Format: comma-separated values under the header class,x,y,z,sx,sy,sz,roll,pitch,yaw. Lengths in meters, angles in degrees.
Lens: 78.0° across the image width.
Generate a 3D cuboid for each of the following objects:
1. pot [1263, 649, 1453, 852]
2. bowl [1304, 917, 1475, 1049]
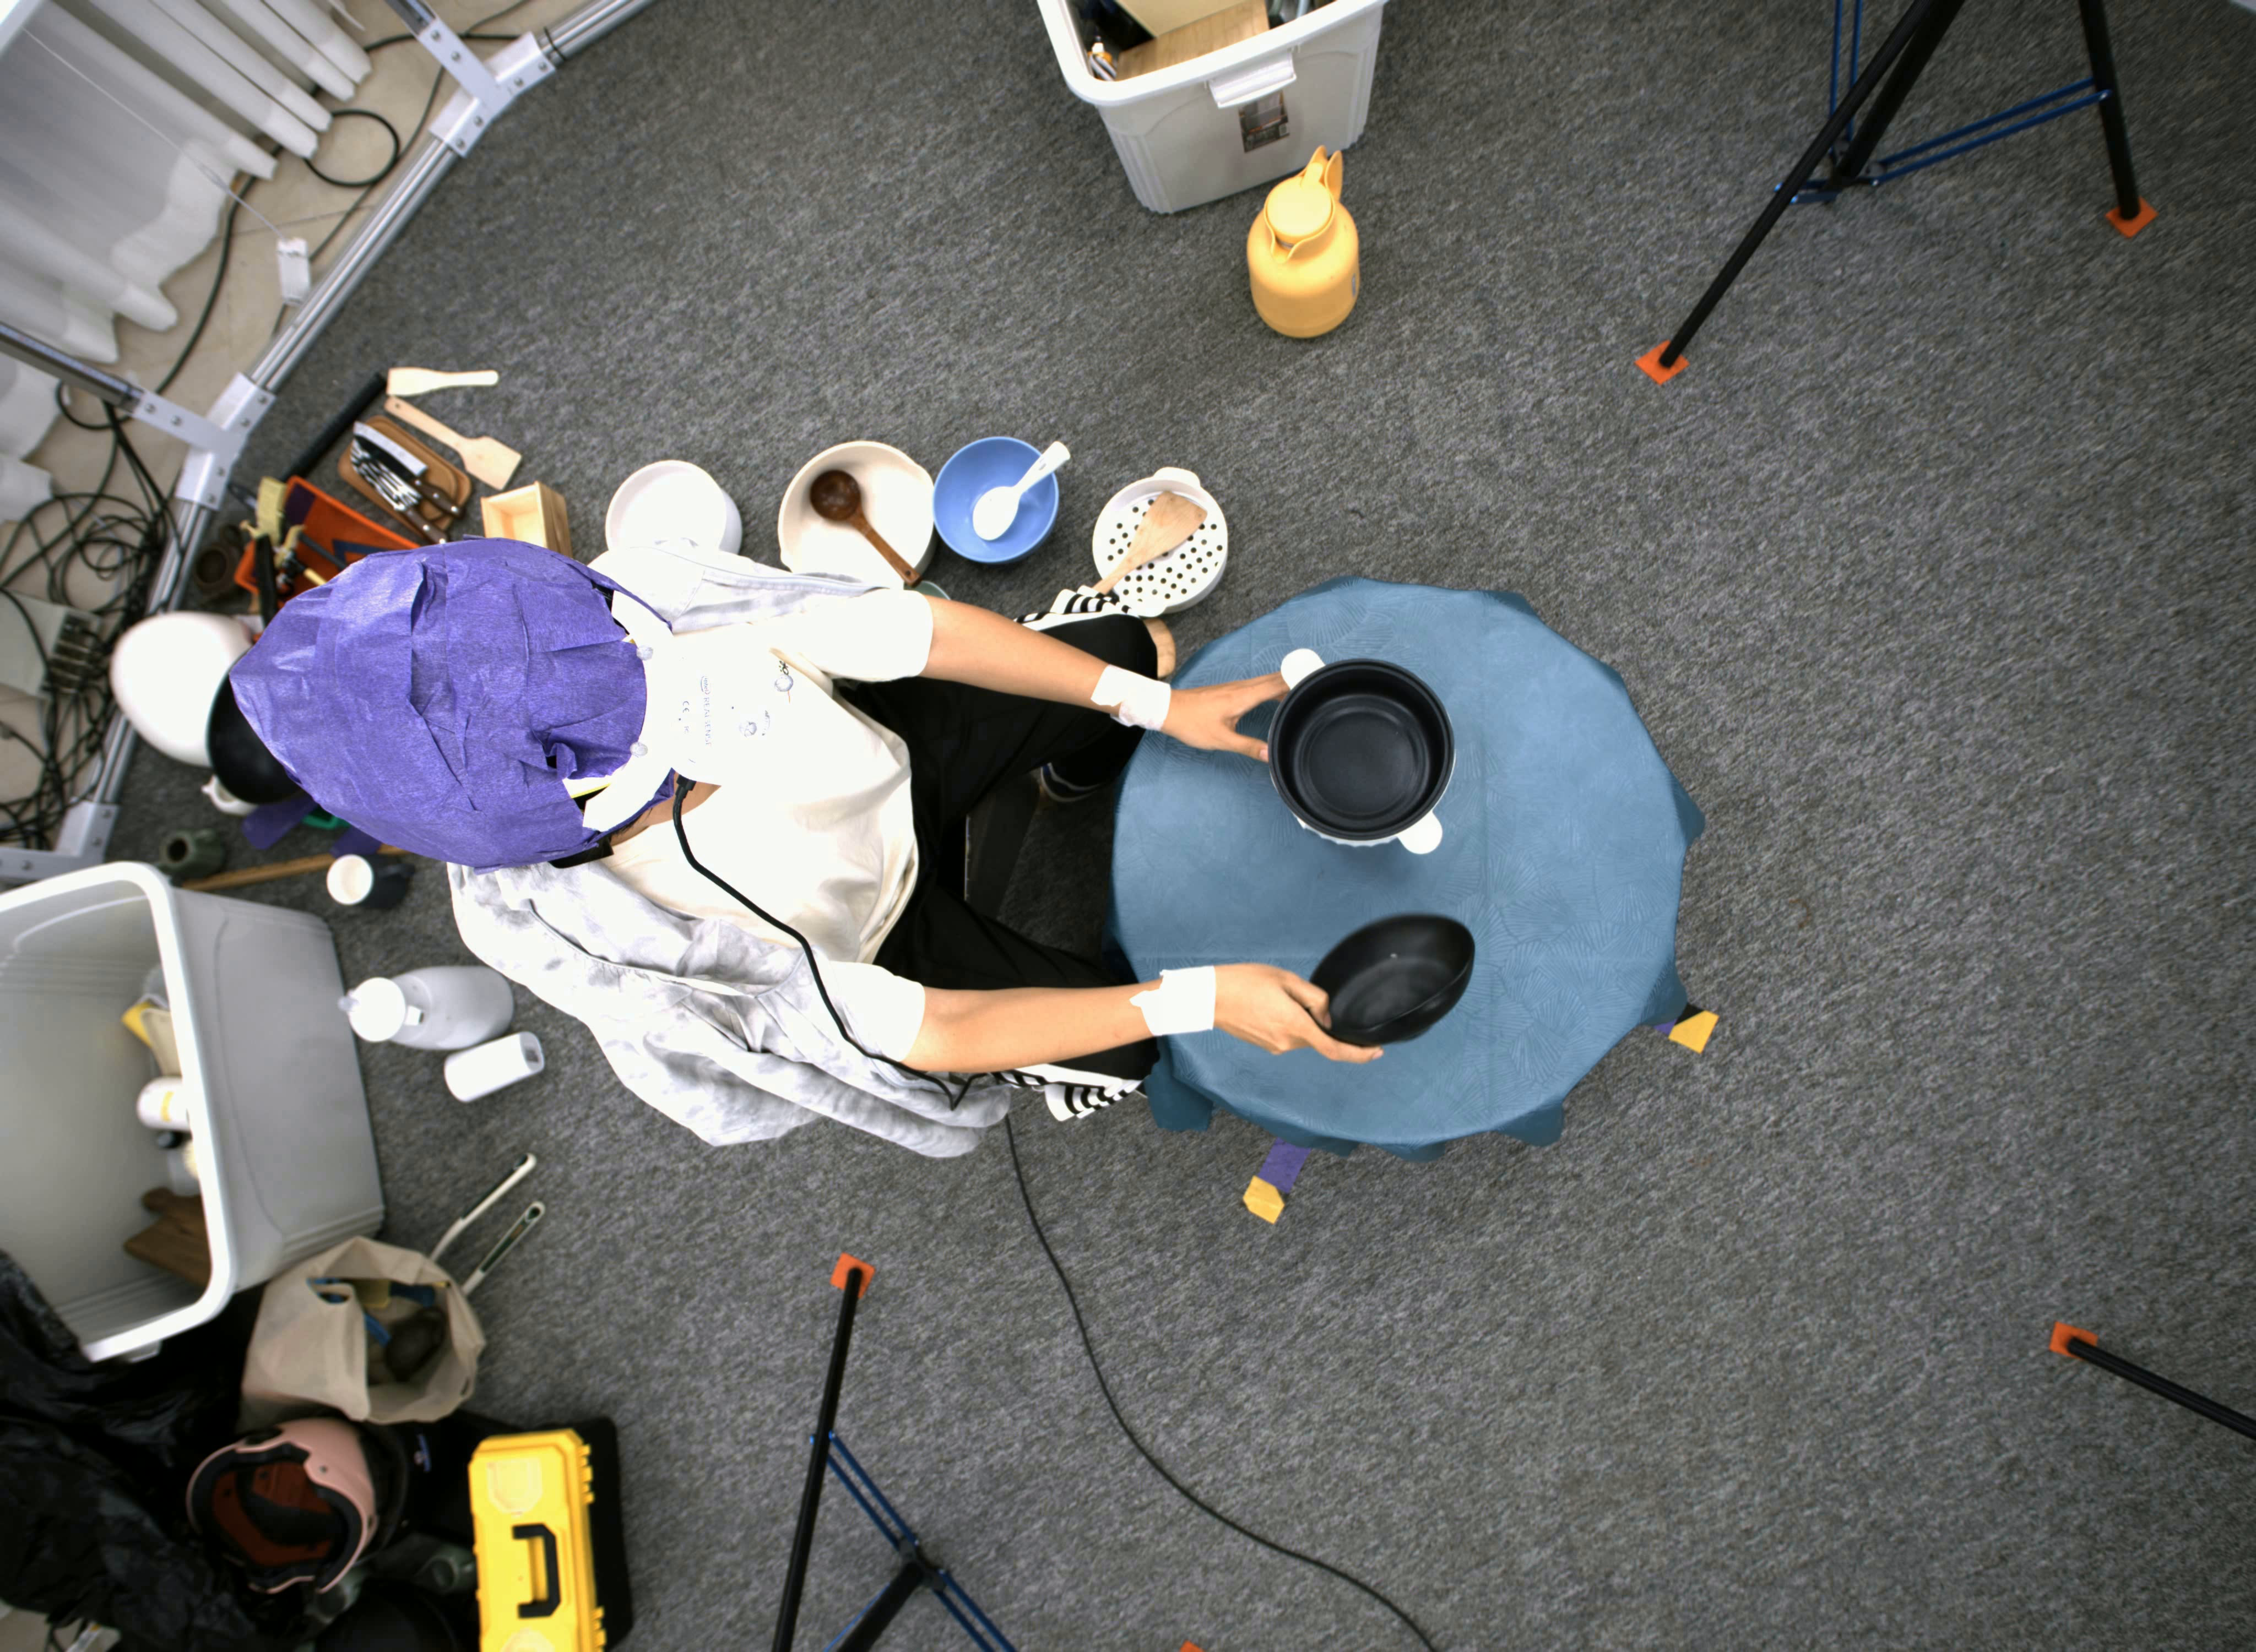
class,x,y,z,sx,sy,sz,roll,pitch,yaw
pot,0.240,-0.074,1.401,0.192,0.142,0.239,-37,81,9
bowl,0.244,0.154,1.262,0.169,0.136,0.068,-31,118,-11
